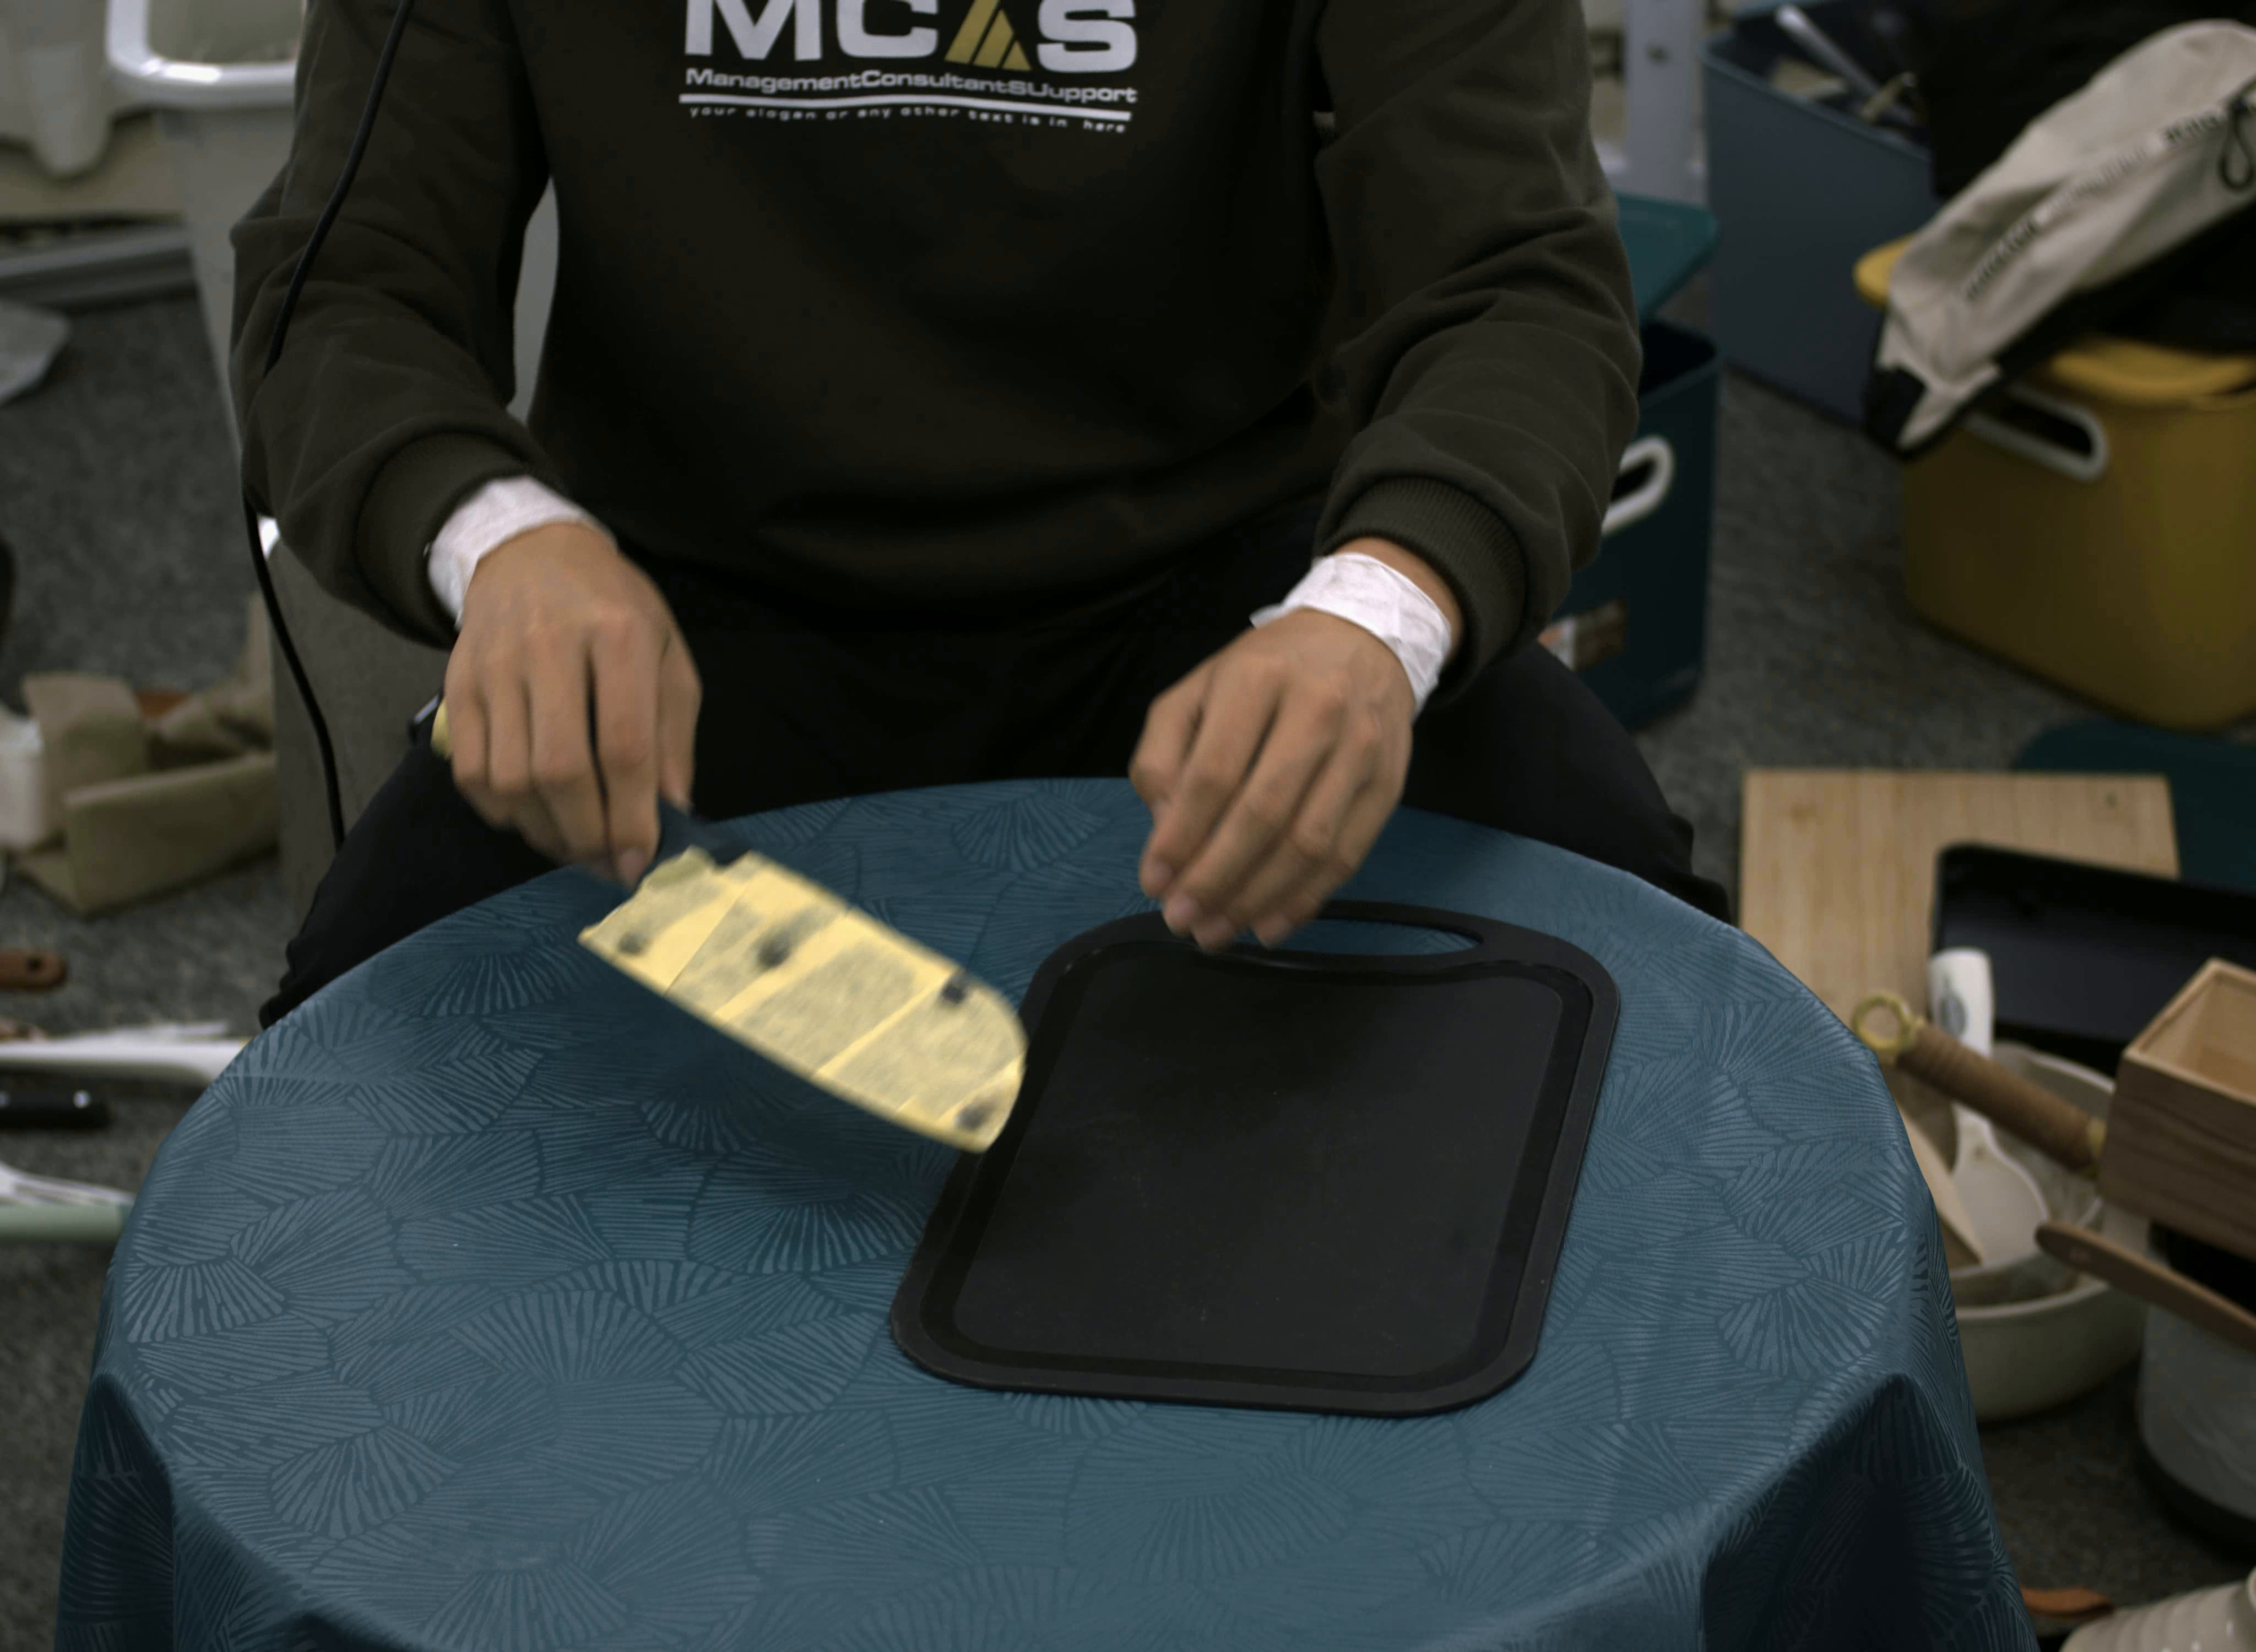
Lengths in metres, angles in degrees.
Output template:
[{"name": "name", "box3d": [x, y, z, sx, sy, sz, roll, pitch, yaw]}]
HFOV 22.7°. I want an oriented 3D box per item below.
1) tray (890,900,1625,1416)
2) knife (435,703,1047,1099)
[{"name": "tray", "box3d": [0.049, 0.102, 1.887, 0.209, 0.009, 0.331, 3, 28, 11]}, {"name": "knife", "box3d": [-0.139, 0.026, 1.906, 0.289, 0.027, 0.082, 28, 43, 32]}]
